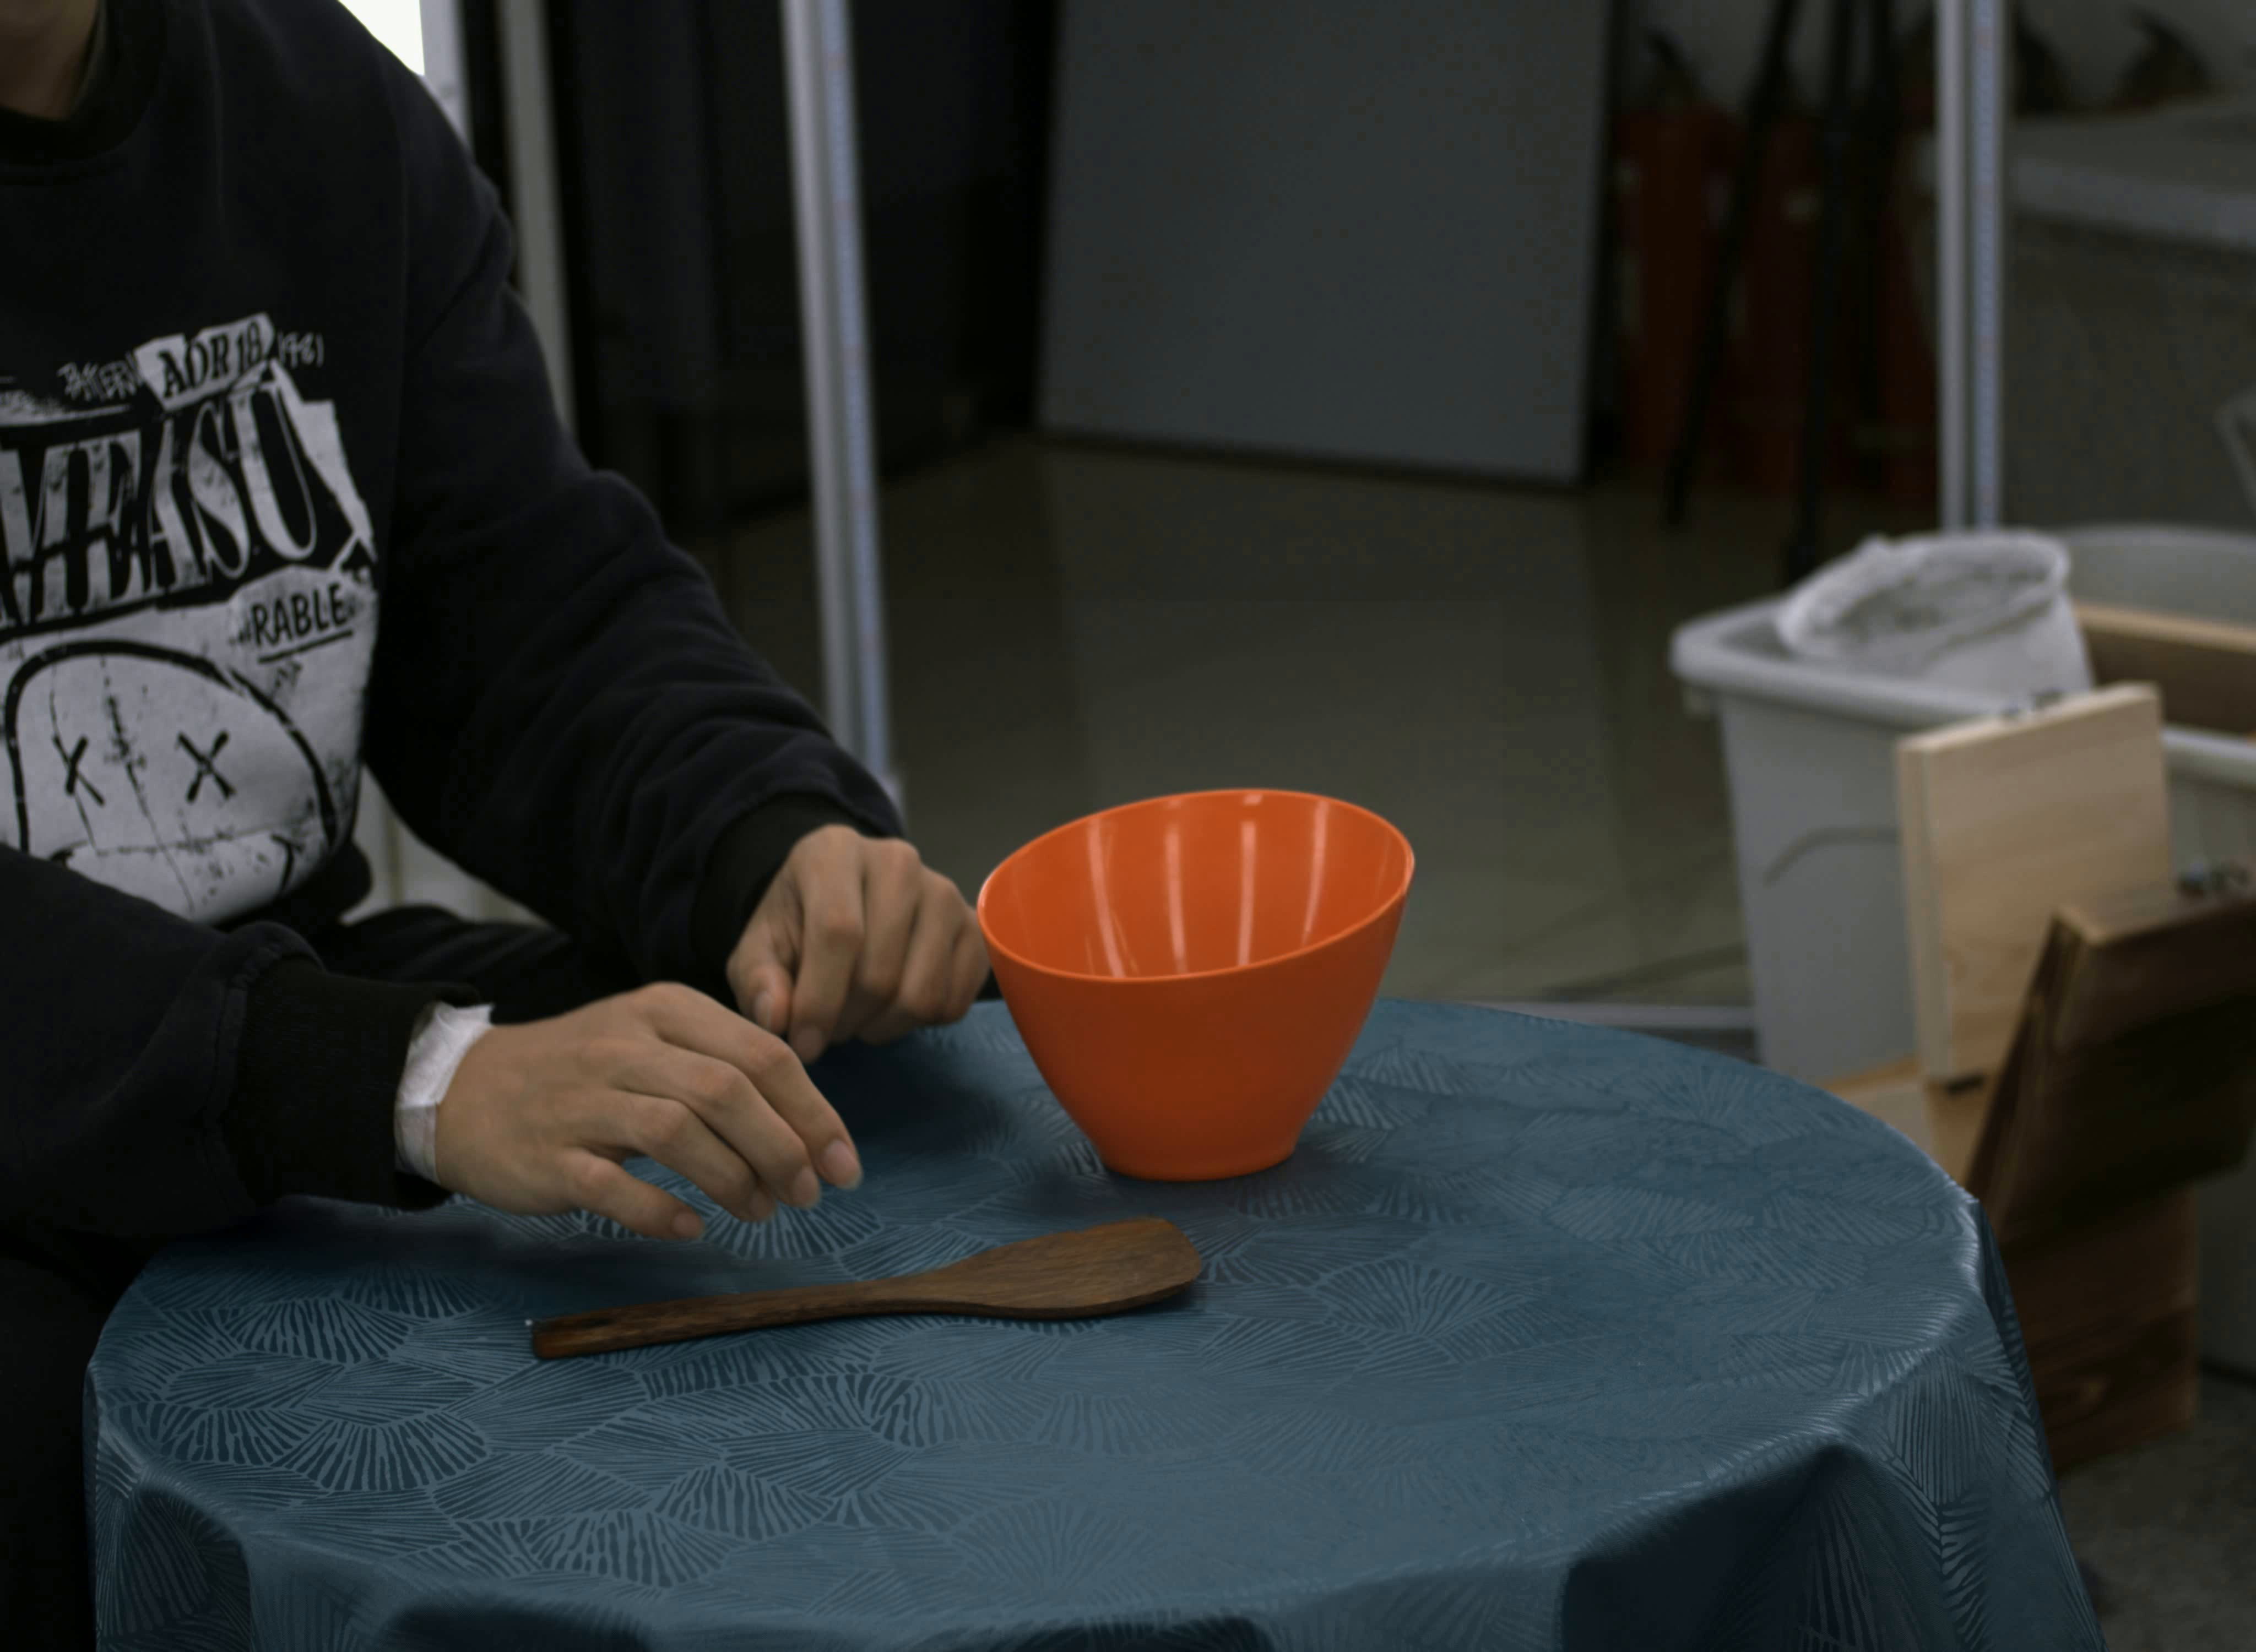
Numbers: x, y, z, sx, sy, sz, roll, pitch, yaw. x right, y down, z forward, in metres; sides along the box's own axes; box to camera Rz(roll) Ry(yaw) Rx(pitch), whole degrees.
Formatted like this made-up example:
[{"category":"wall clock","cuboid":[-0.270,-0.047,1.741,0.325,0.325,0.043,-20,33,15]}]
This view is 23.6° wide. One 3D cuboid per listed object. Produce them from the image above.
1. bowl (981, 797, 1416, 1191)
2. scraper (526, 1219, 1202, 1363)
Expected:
[{"category":"bowl","cuboid":[0.026,0.059,1.803,0.146,0.106,0.148,-4,14,0]},{"category":"scraper","cuboid":[-0.082,0.148,1.672,0.208,0.011,0.076,-7,13,-8]}]
